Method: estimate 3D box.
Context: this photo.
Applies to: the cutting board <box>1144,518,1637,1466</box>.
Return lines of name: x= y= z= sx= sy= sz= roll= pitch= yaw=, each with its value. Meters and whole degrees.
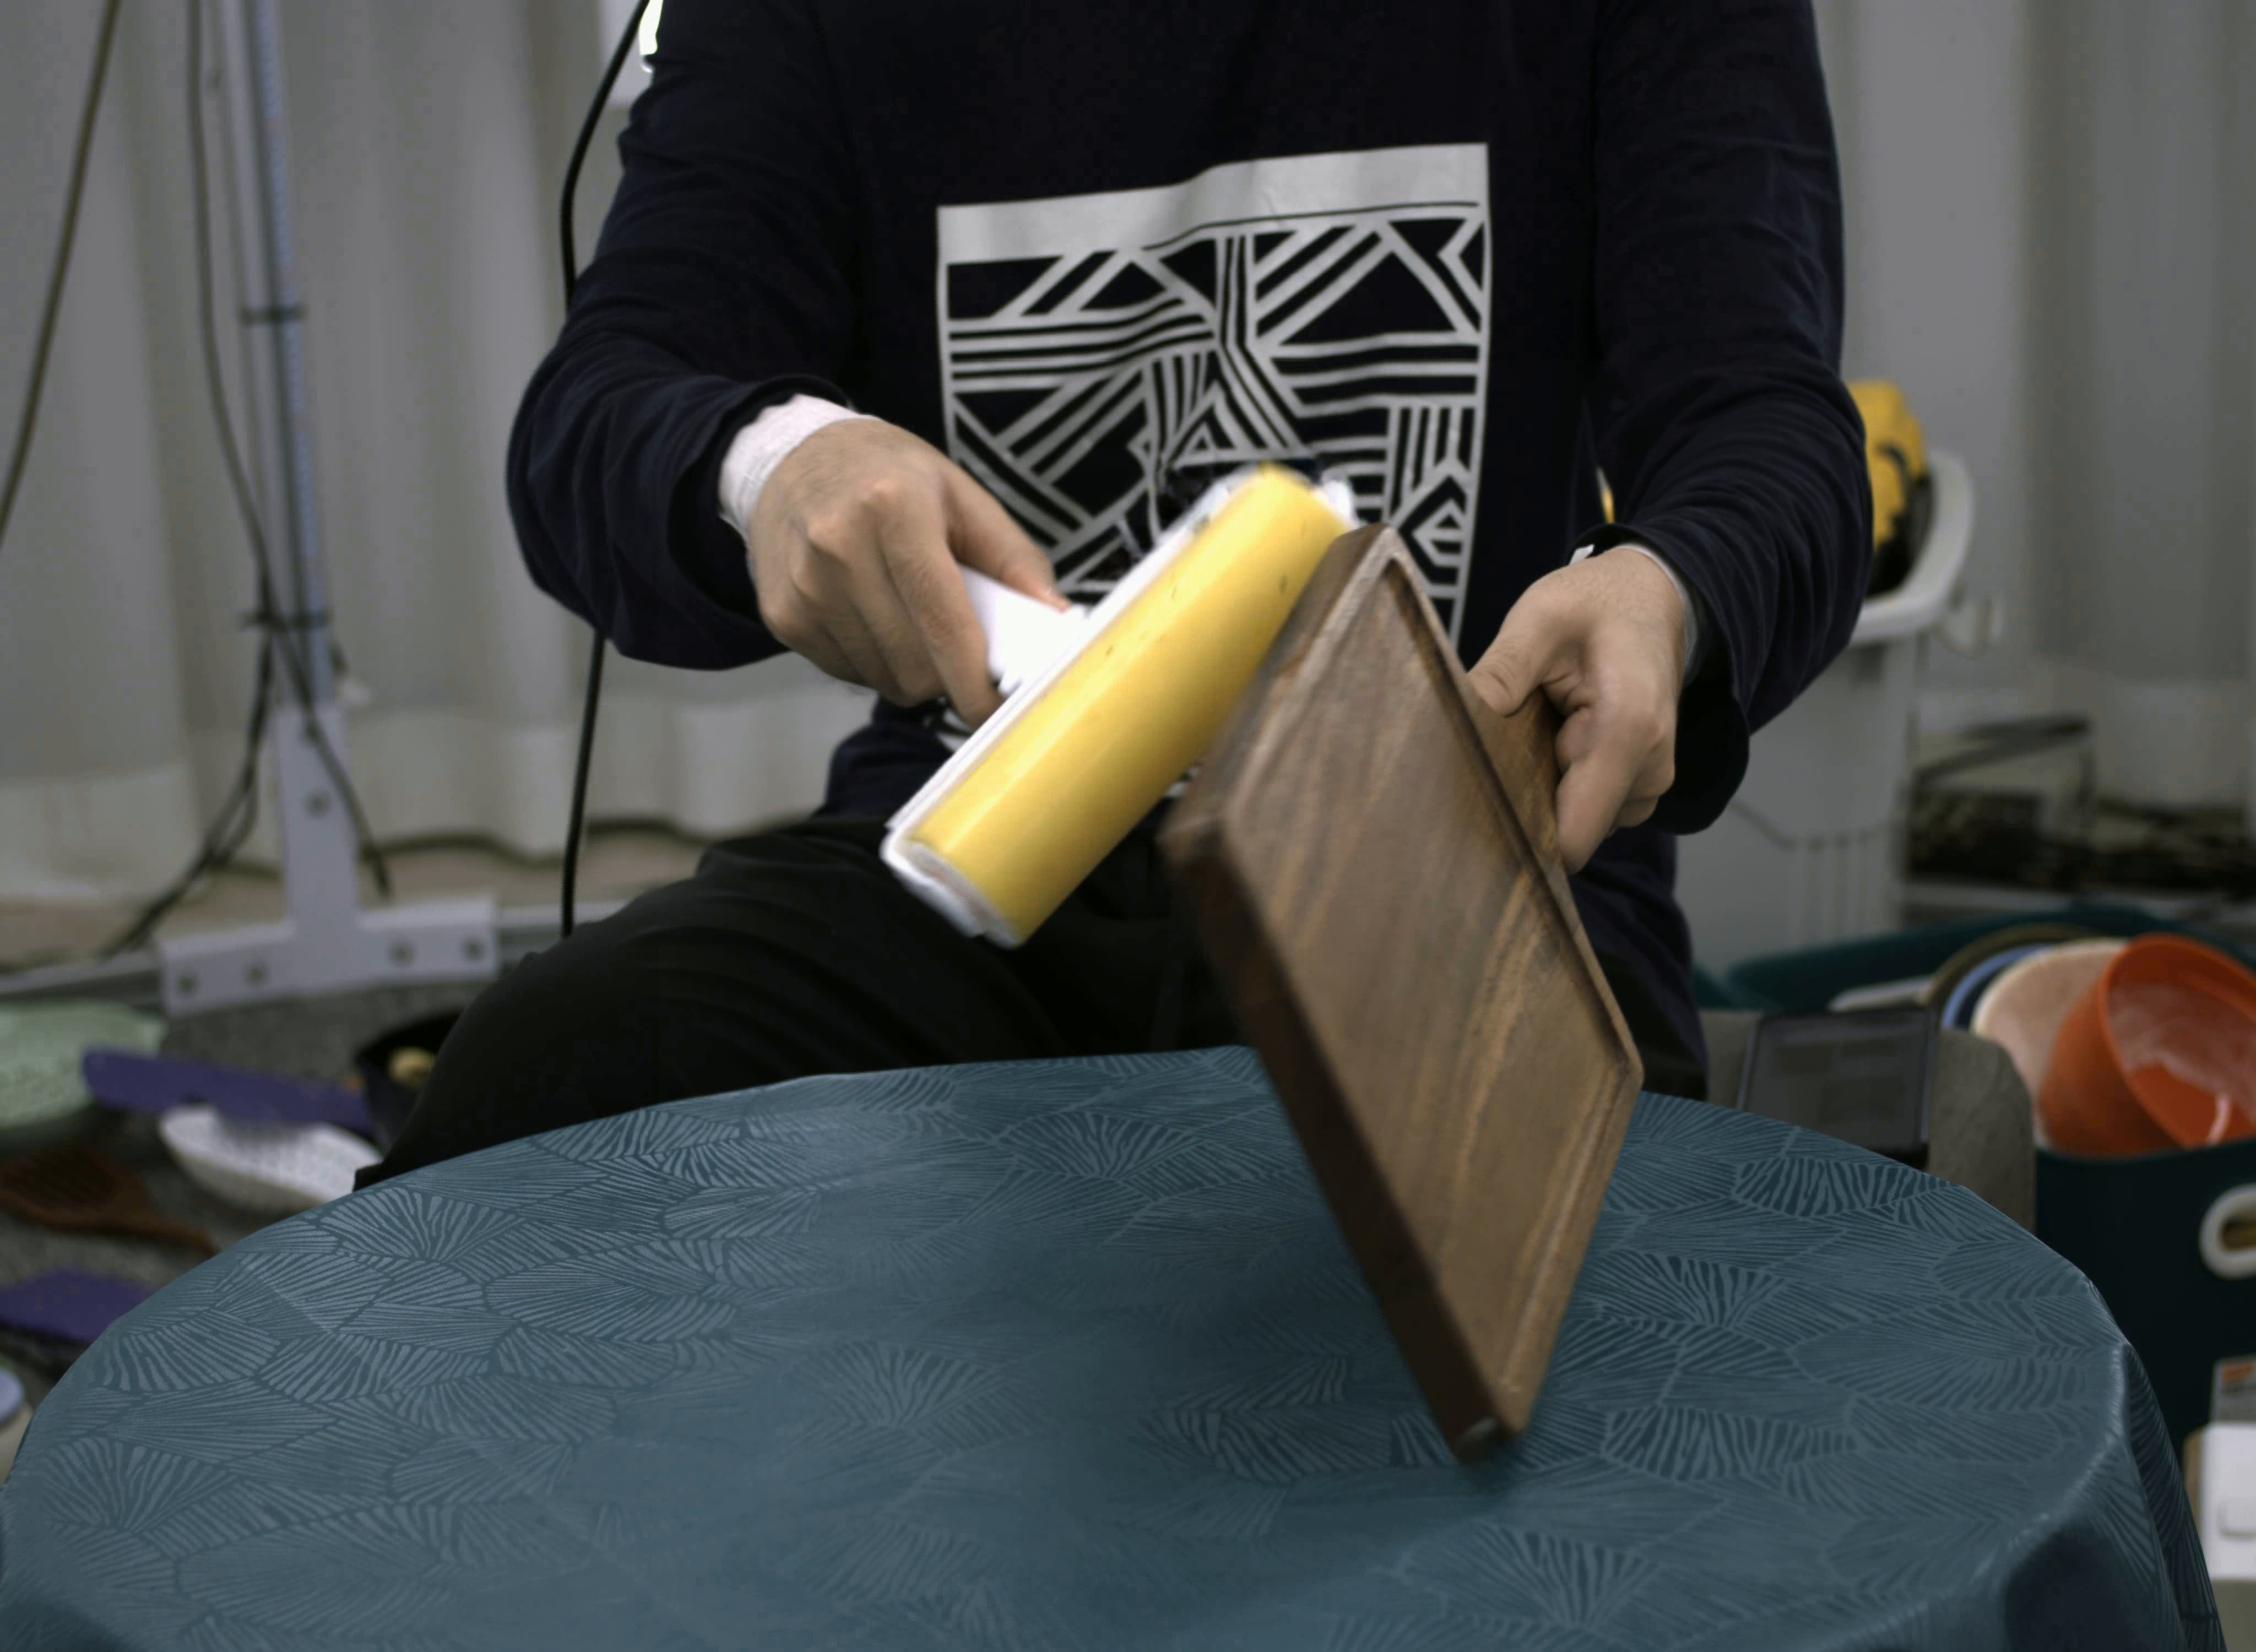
cutting board: x=0.091 y=0.022 z=1.590 sx=0.023 sy=0.200 sz=0.355 roll=-21 pitch=15 yaw=21

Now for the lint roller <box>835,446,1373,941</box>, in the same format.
lint roller: x=-0.038 y=-0.064 z=1.705 sx=0.194 sy=0.051 sz=0.175 roll=28 pitch=73 yaw=44
